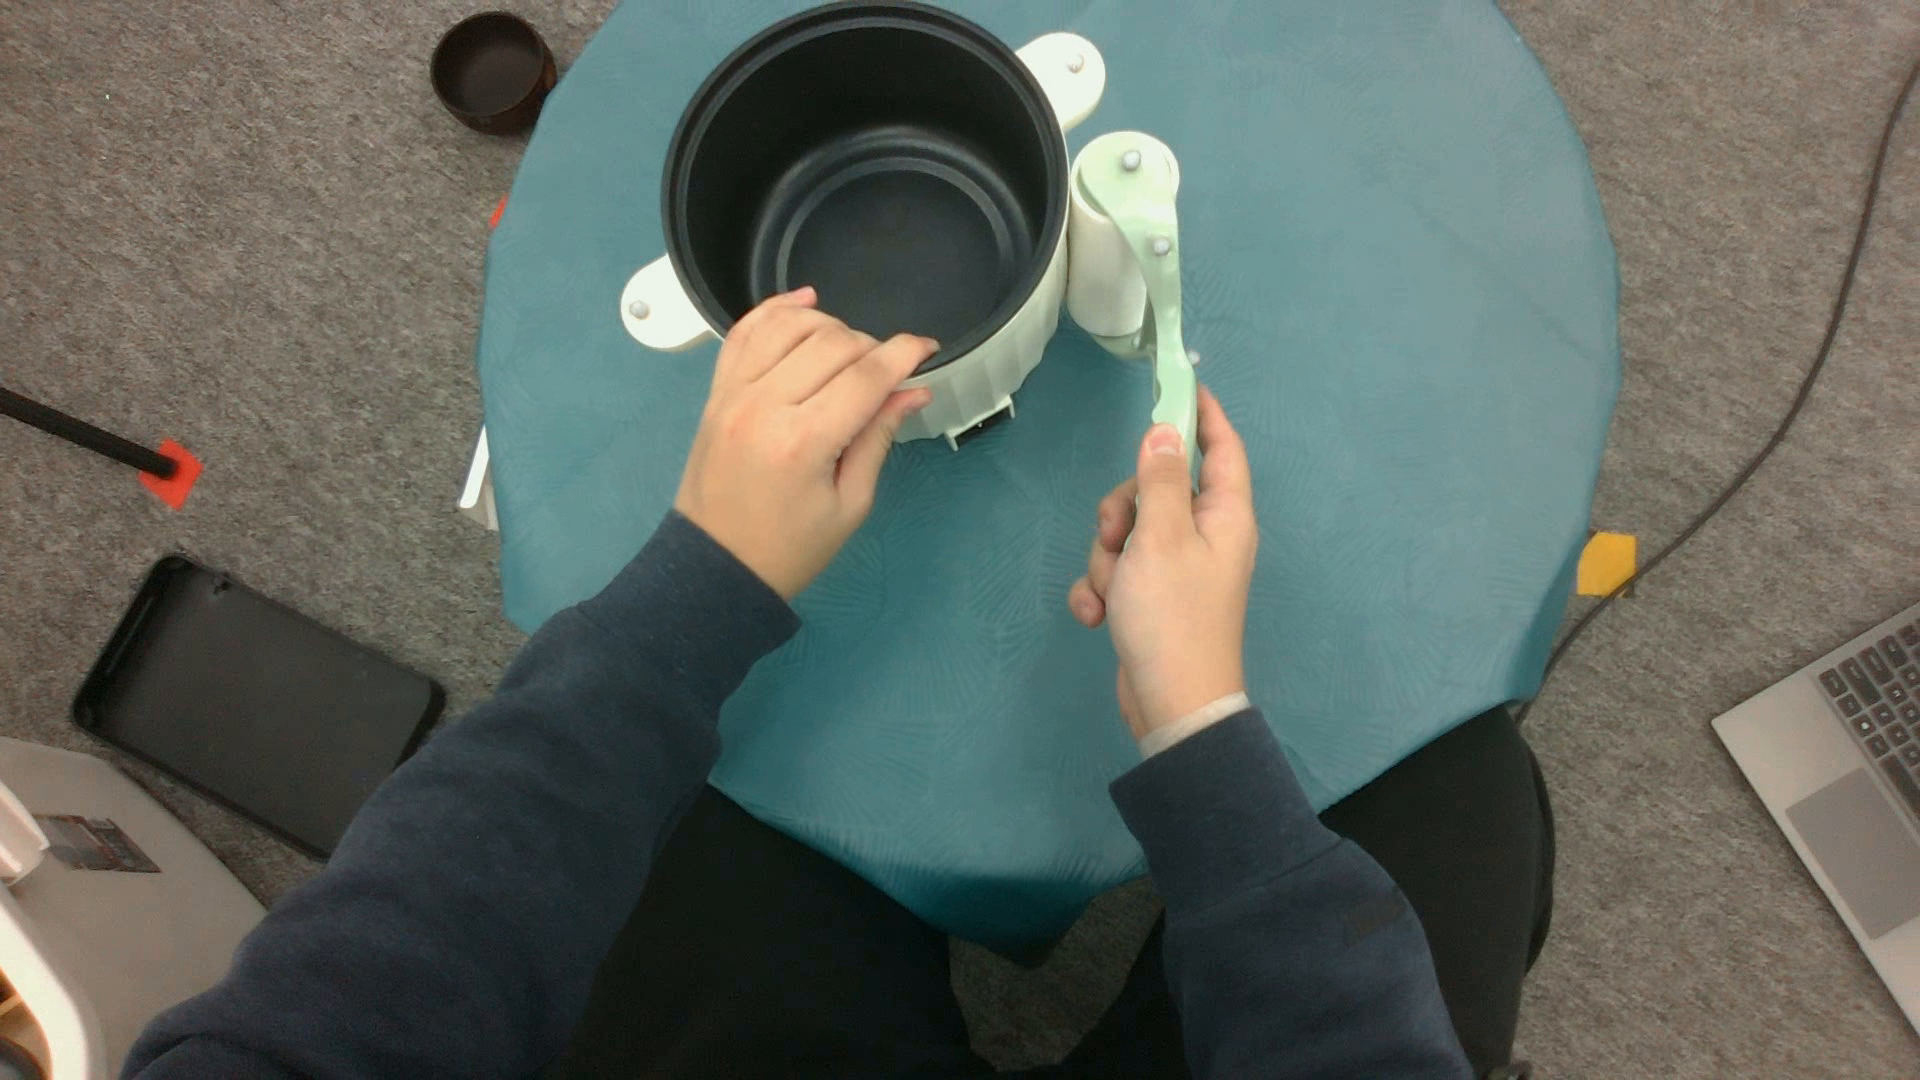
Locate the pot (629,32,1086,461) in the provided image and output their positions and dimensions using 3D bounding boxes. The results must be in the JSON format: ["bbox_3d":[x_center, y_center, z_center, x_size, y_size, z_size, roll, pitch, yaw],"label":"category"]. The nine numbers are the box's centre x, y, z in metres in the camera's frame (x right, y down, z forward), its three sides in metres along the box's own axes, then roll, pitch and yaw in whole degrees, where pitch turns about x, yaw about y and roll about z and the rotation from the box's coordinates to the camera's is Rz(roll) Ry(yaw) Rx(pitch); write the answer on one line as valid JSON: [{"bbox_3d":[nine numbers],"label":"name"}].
[{"bbox_3d":[-0.044,-0.138,0.685,0.240,0.142,0.190,-33,79,-3],"label":"pot"}]

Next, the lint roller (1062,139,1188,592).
[{"bbox_3d":[0.079,-0.073,0.629,0.048,0.116,0.198,-7,70,1],"label":"lint roller"}]
